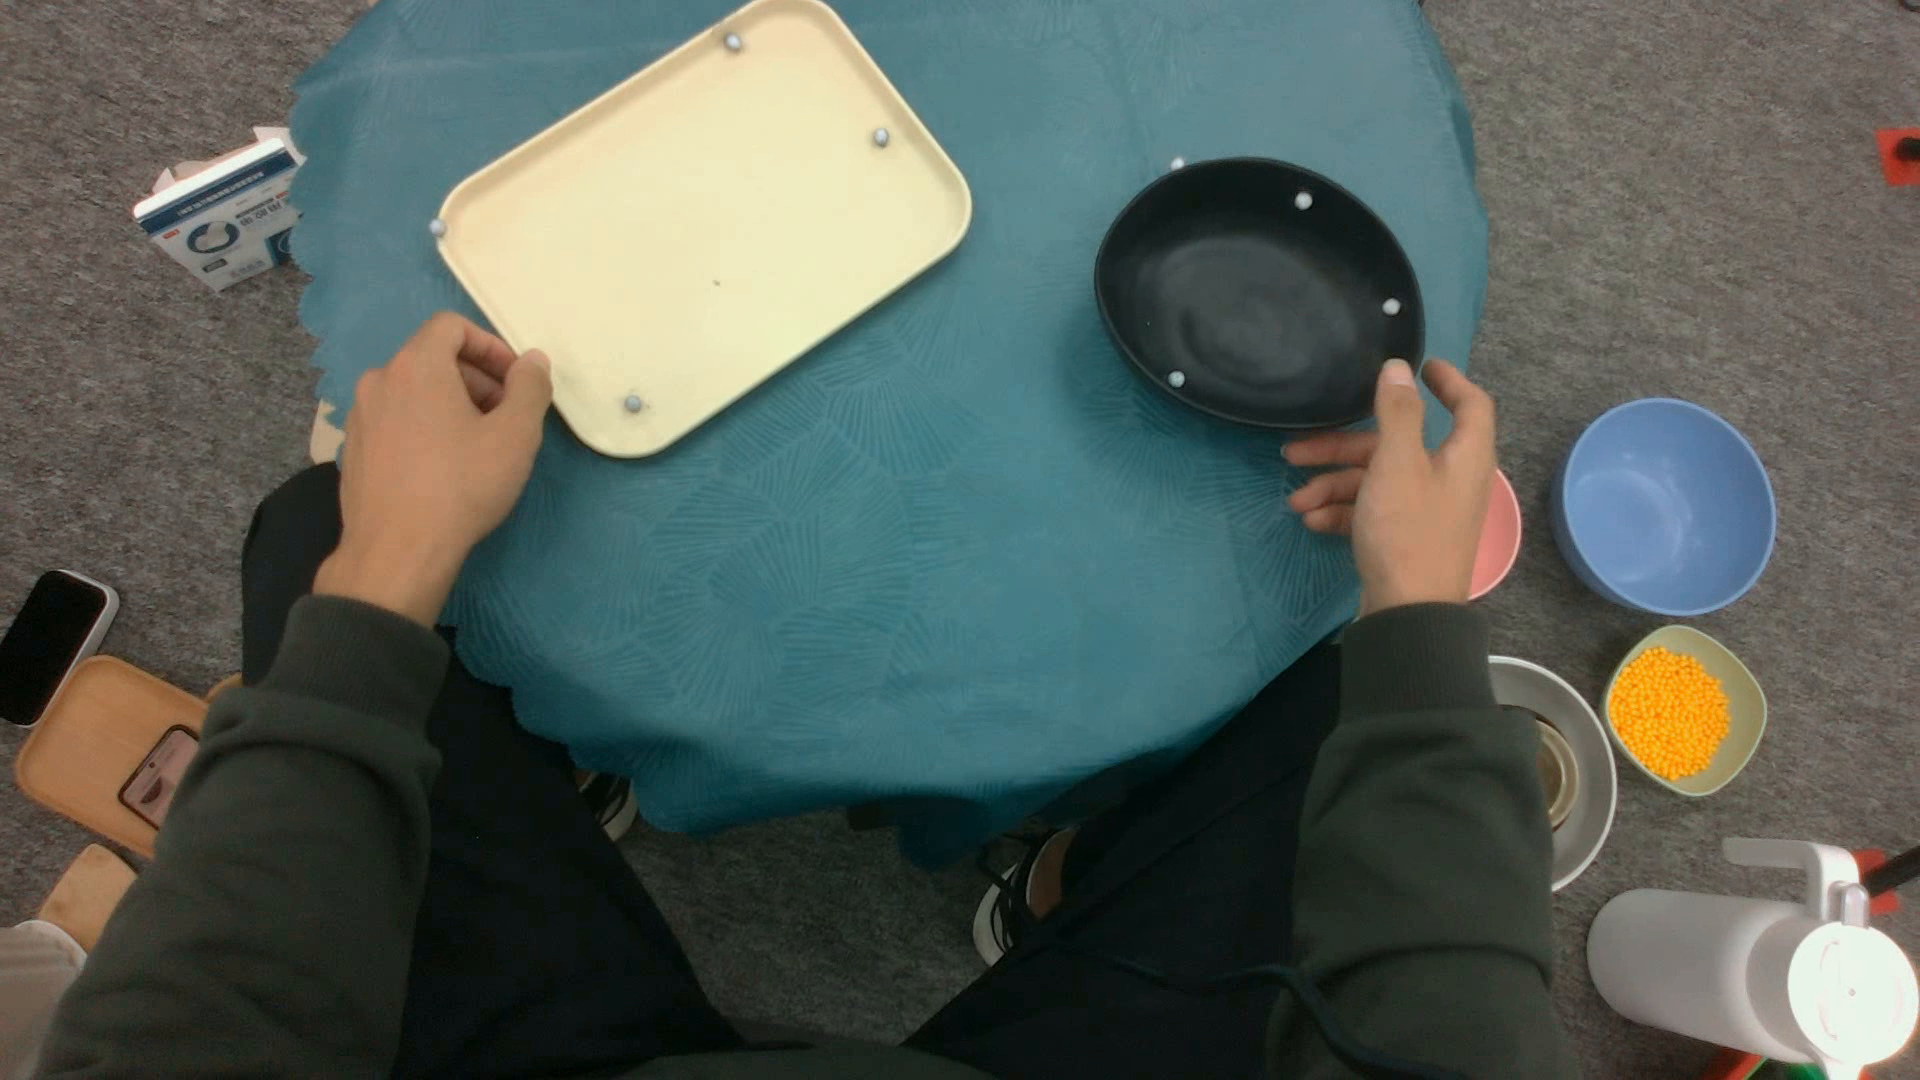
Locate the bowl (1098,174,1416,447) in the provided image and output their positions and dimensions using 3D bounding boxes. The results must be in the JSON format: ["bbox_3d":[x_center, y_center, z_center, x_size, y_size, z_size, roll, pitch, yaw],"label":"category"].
[{"bbox_3d":[0.150,-0.111,0.713,0.170,0.066,0.137,15,79,-3],"label":"bowl"}]

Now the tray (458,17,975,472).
[{"bbox_3d":[-0.125,-0.157,0.724,0.240,0.017,0.171,-37,84,-11],"label":"tray"}]
